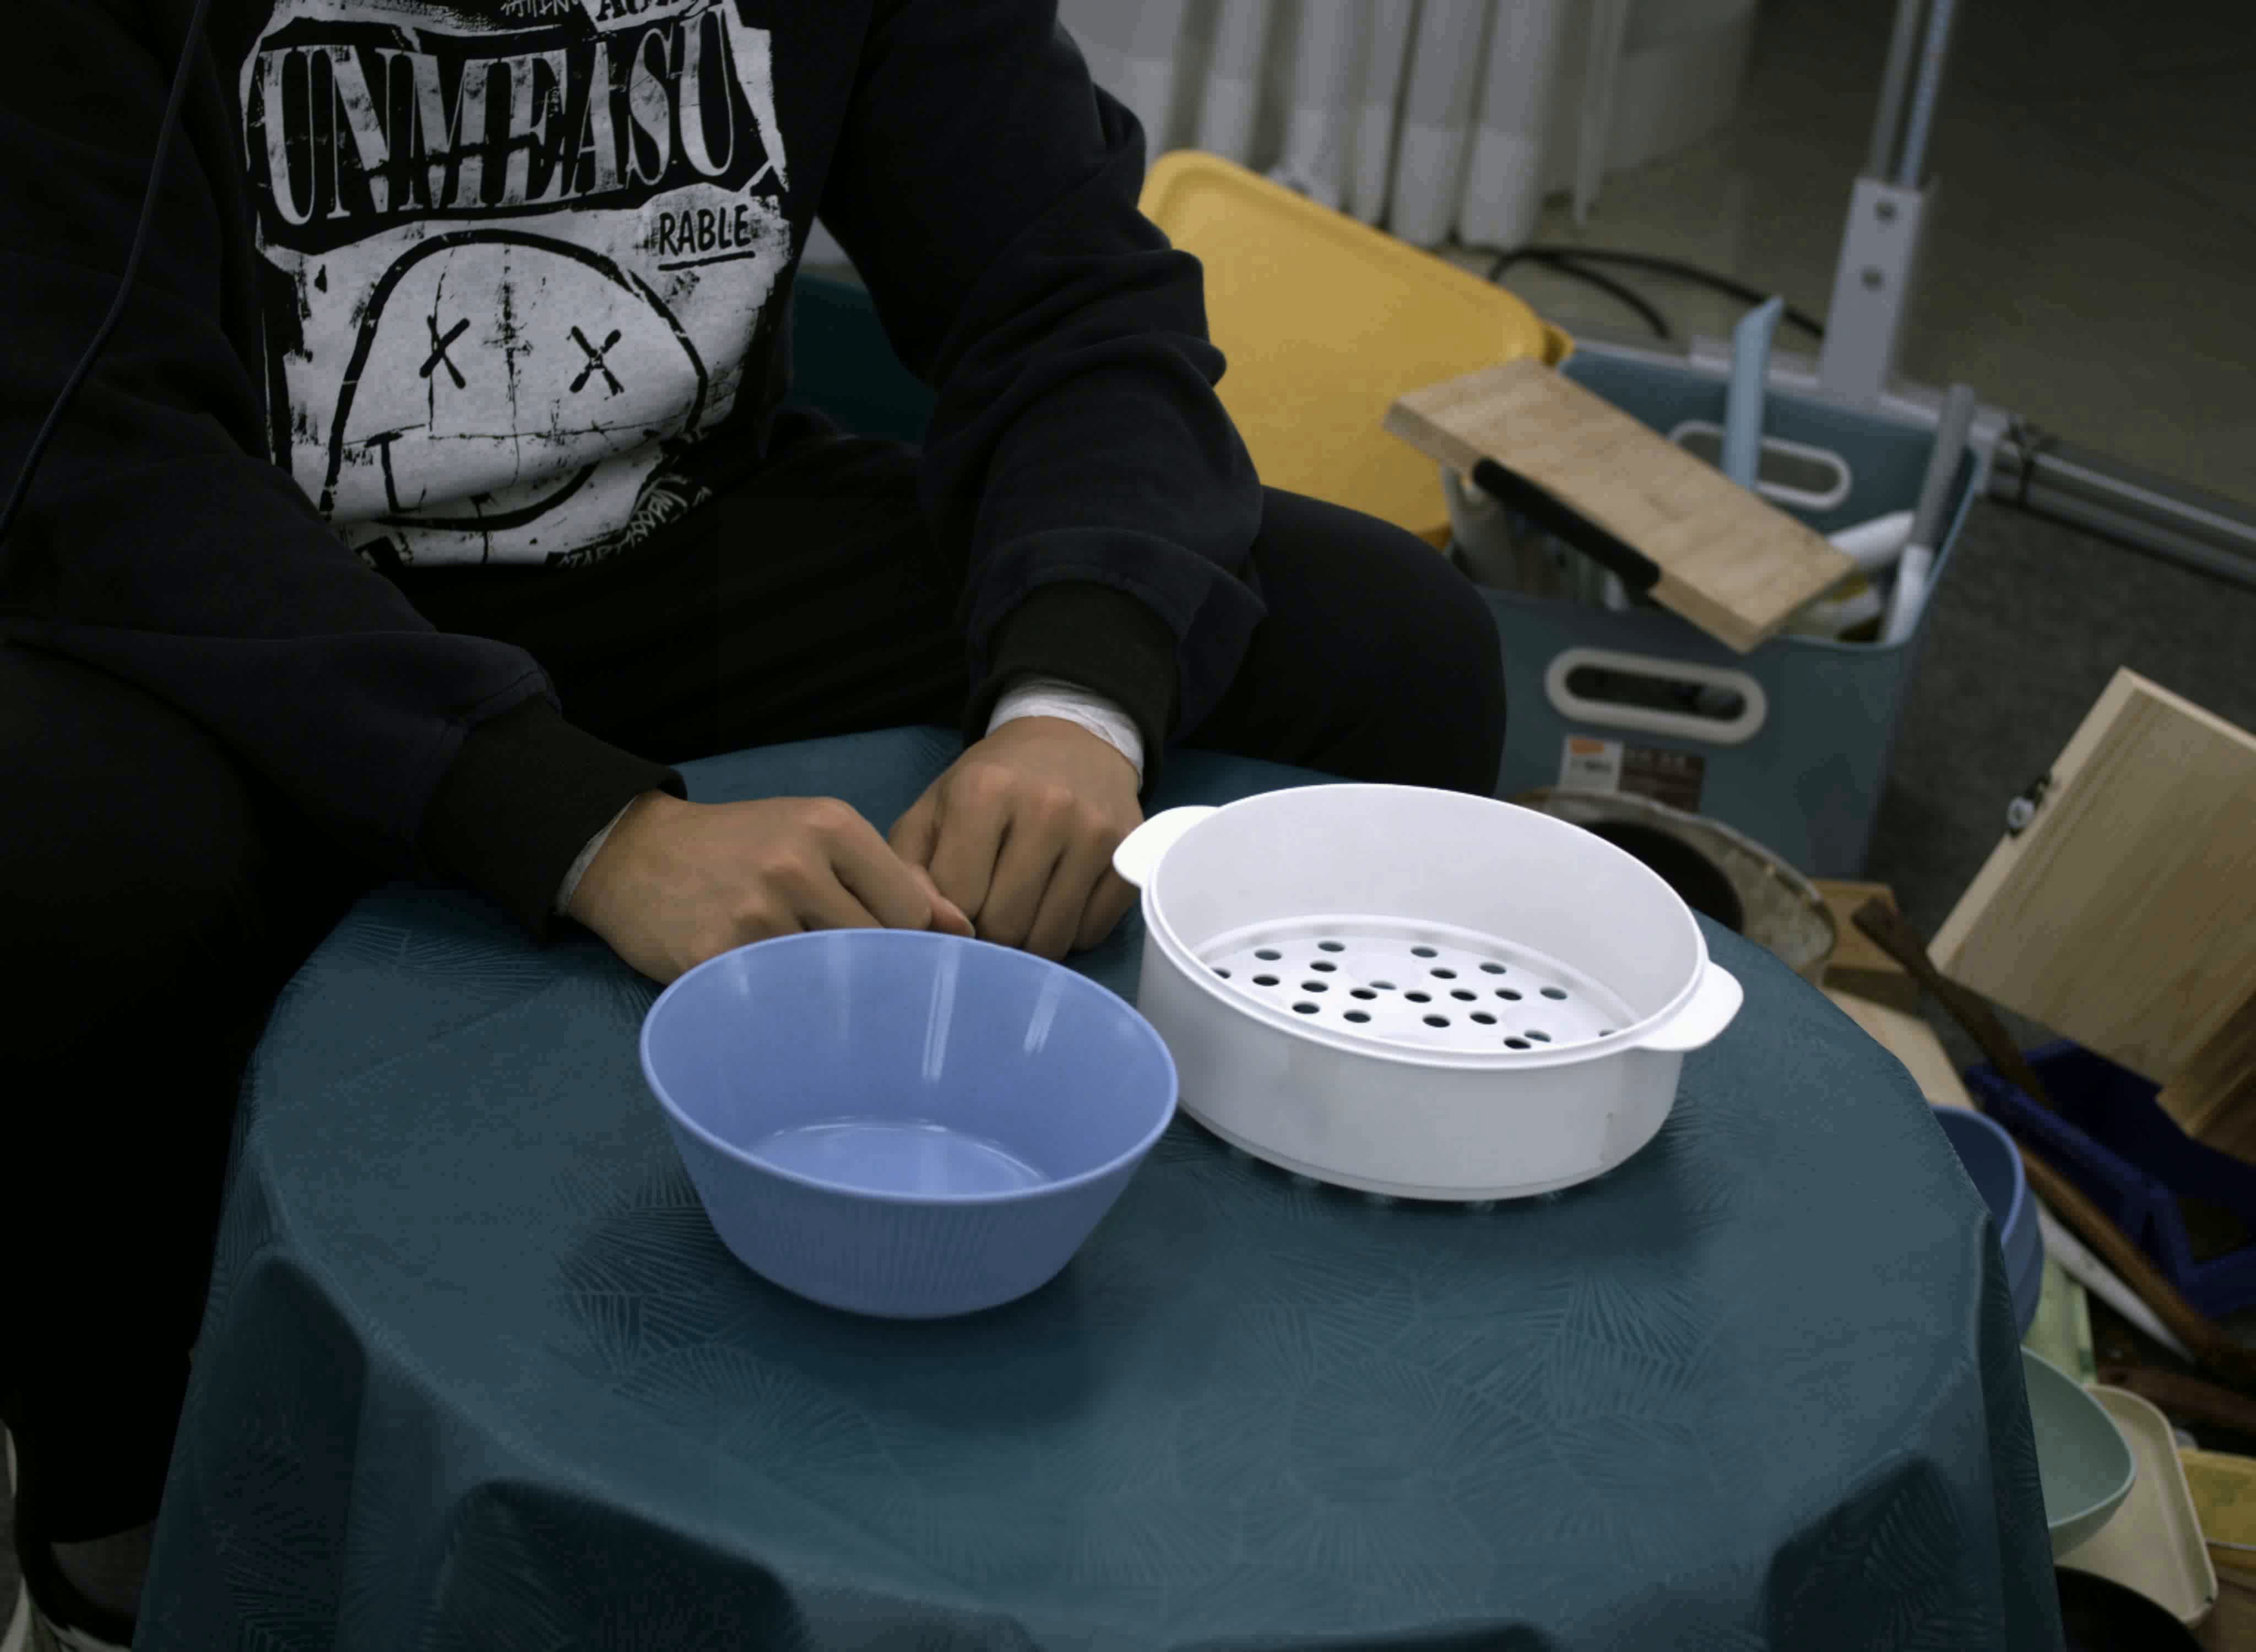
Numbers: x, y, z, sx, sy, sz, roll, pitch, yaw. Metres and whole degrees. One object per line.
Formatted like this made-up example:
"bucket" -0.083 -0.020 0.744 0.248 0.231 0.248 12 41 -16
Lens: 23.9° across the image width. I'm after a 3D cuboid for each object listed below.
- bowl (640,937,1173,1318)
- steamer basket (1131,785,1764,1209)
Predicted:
"bowl" -0.075 0.104 1.743 0.175 0.070 0.177 6 26 -3
"steamer basket" 0.107 0.060 1.874 0.231 0.069 0.202 19 29 19
